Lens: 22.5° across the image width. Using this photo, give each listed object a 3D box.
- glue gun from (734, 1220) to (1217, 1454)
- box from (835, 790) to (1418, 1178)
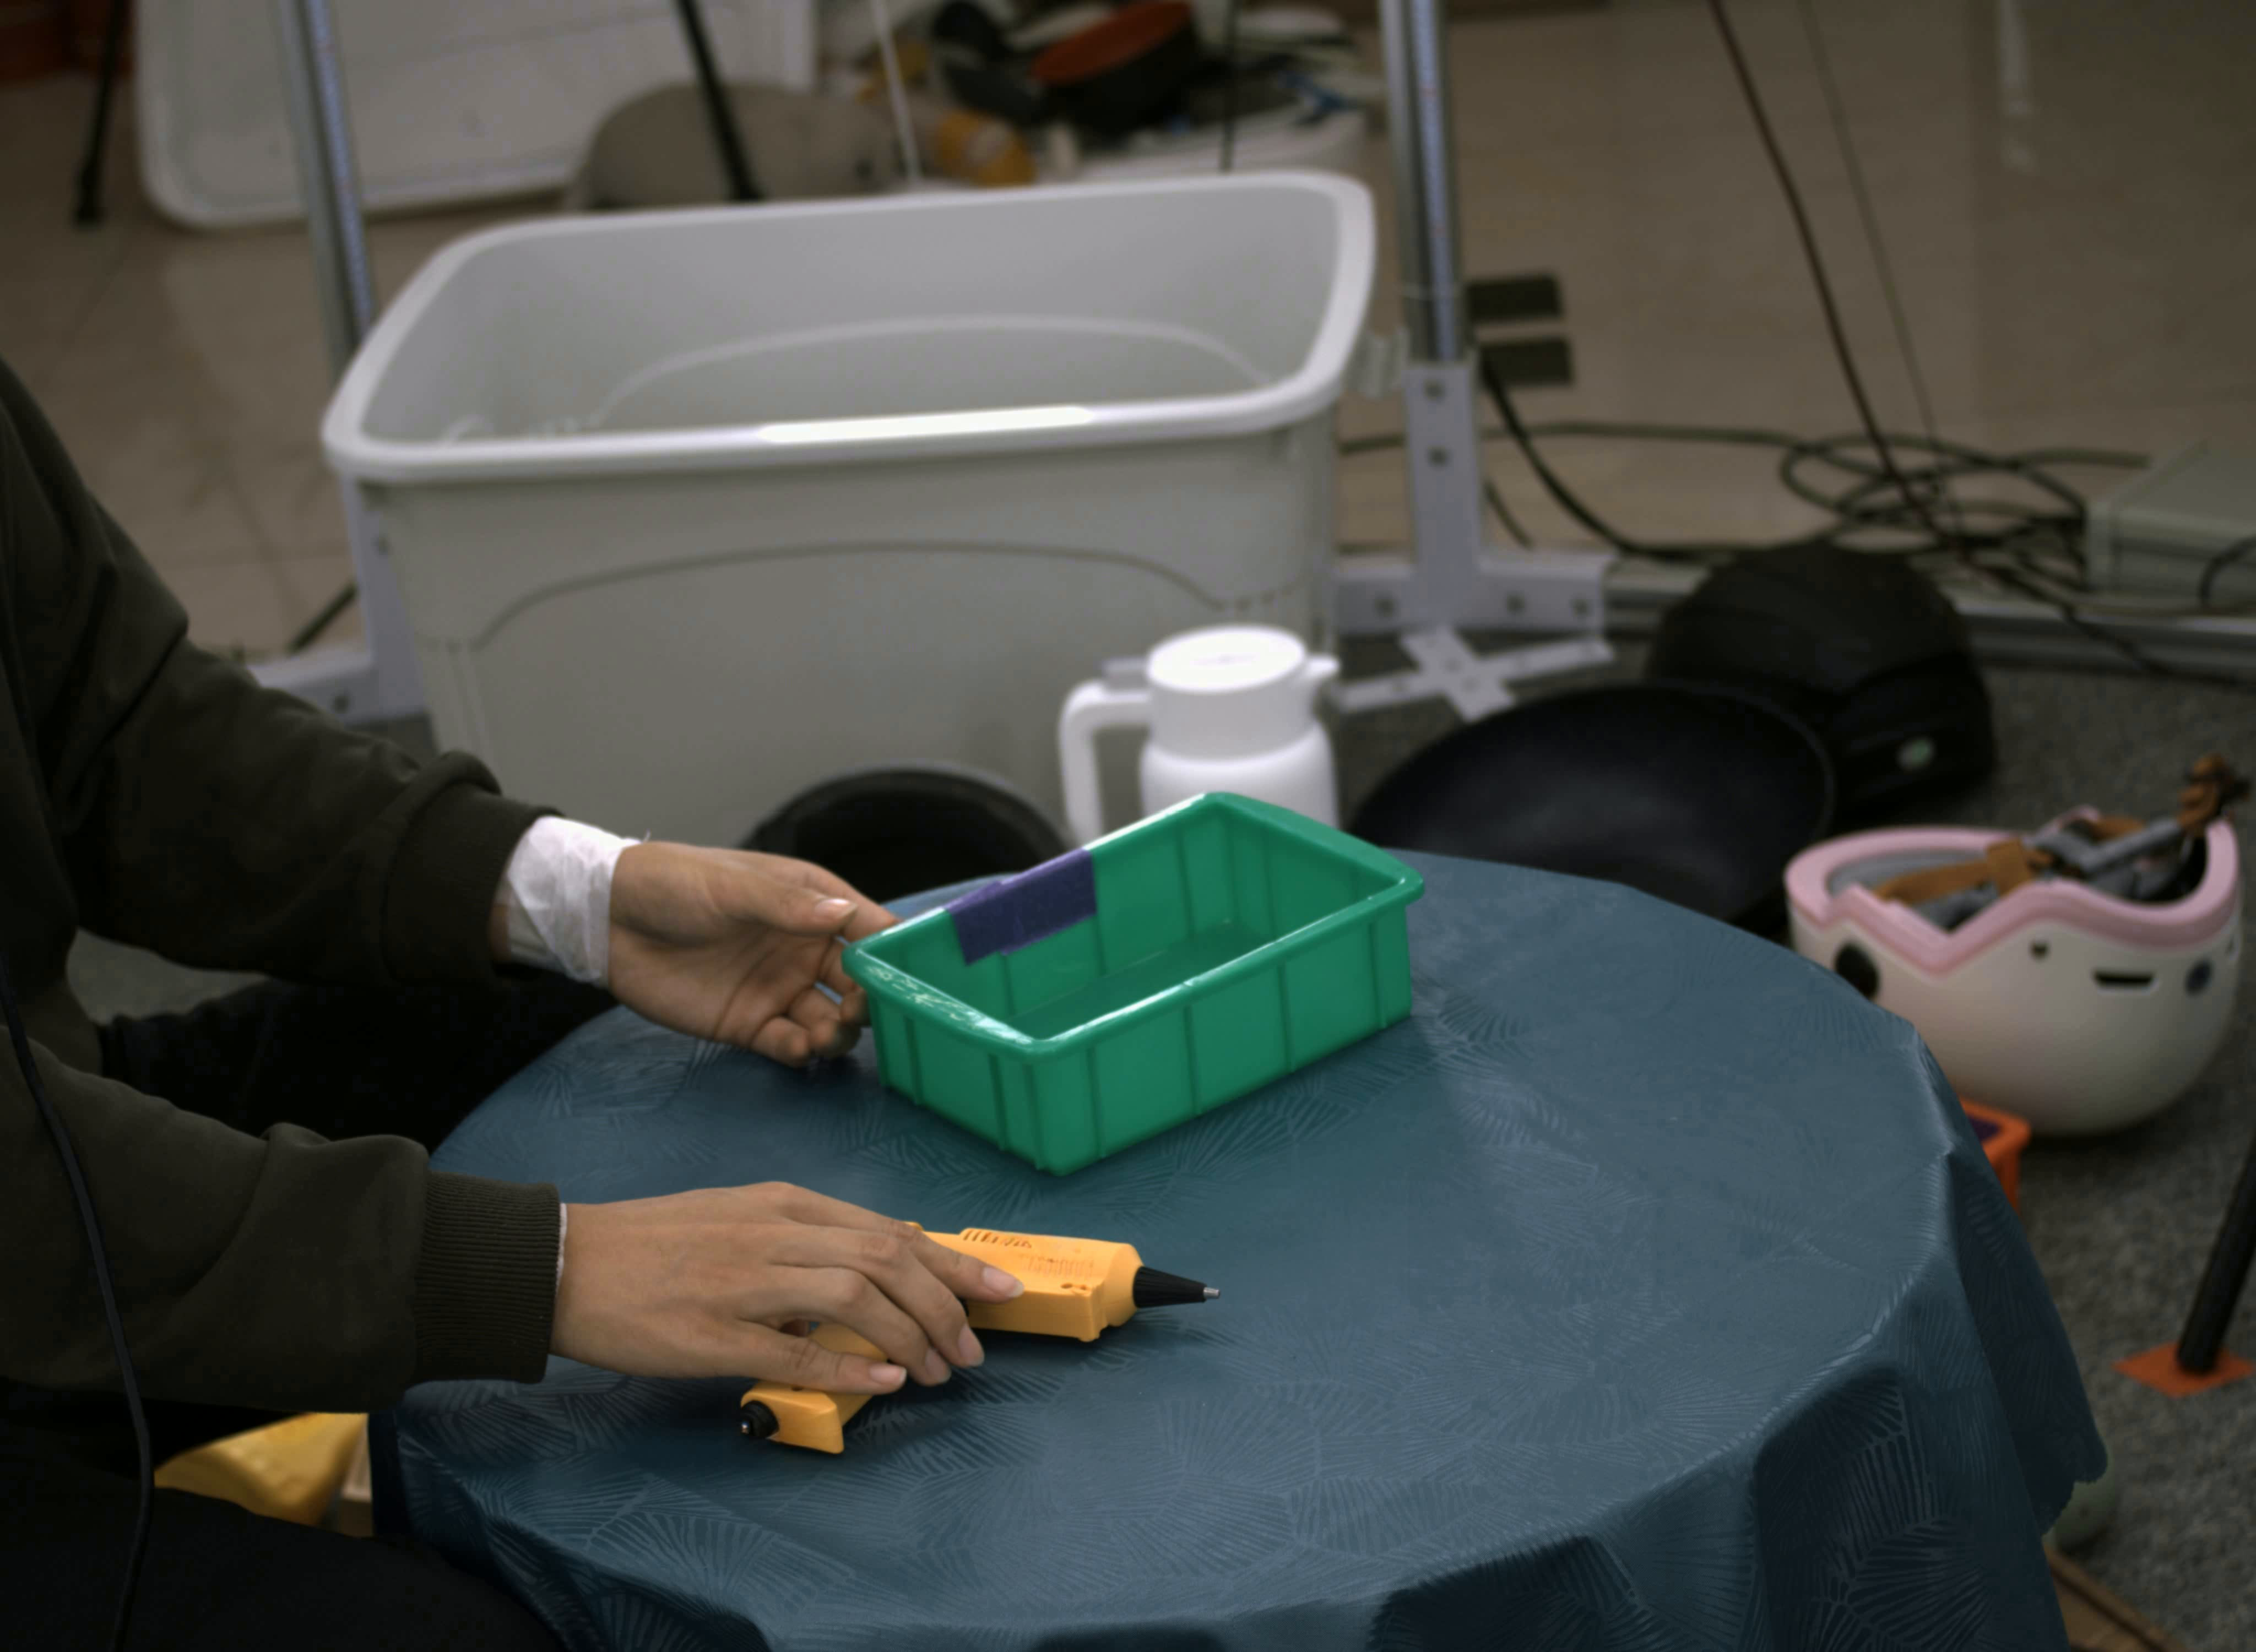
[{"bbox_3d":[-0.051,0.185,2.032,0.151,0.031,0.131,2,28,17],"label":"glue gun"},{"bbox_3d":[0.003,0.062,2.237,0.209,0.066,0.137,-26,29,-32],"label":"box"}]
